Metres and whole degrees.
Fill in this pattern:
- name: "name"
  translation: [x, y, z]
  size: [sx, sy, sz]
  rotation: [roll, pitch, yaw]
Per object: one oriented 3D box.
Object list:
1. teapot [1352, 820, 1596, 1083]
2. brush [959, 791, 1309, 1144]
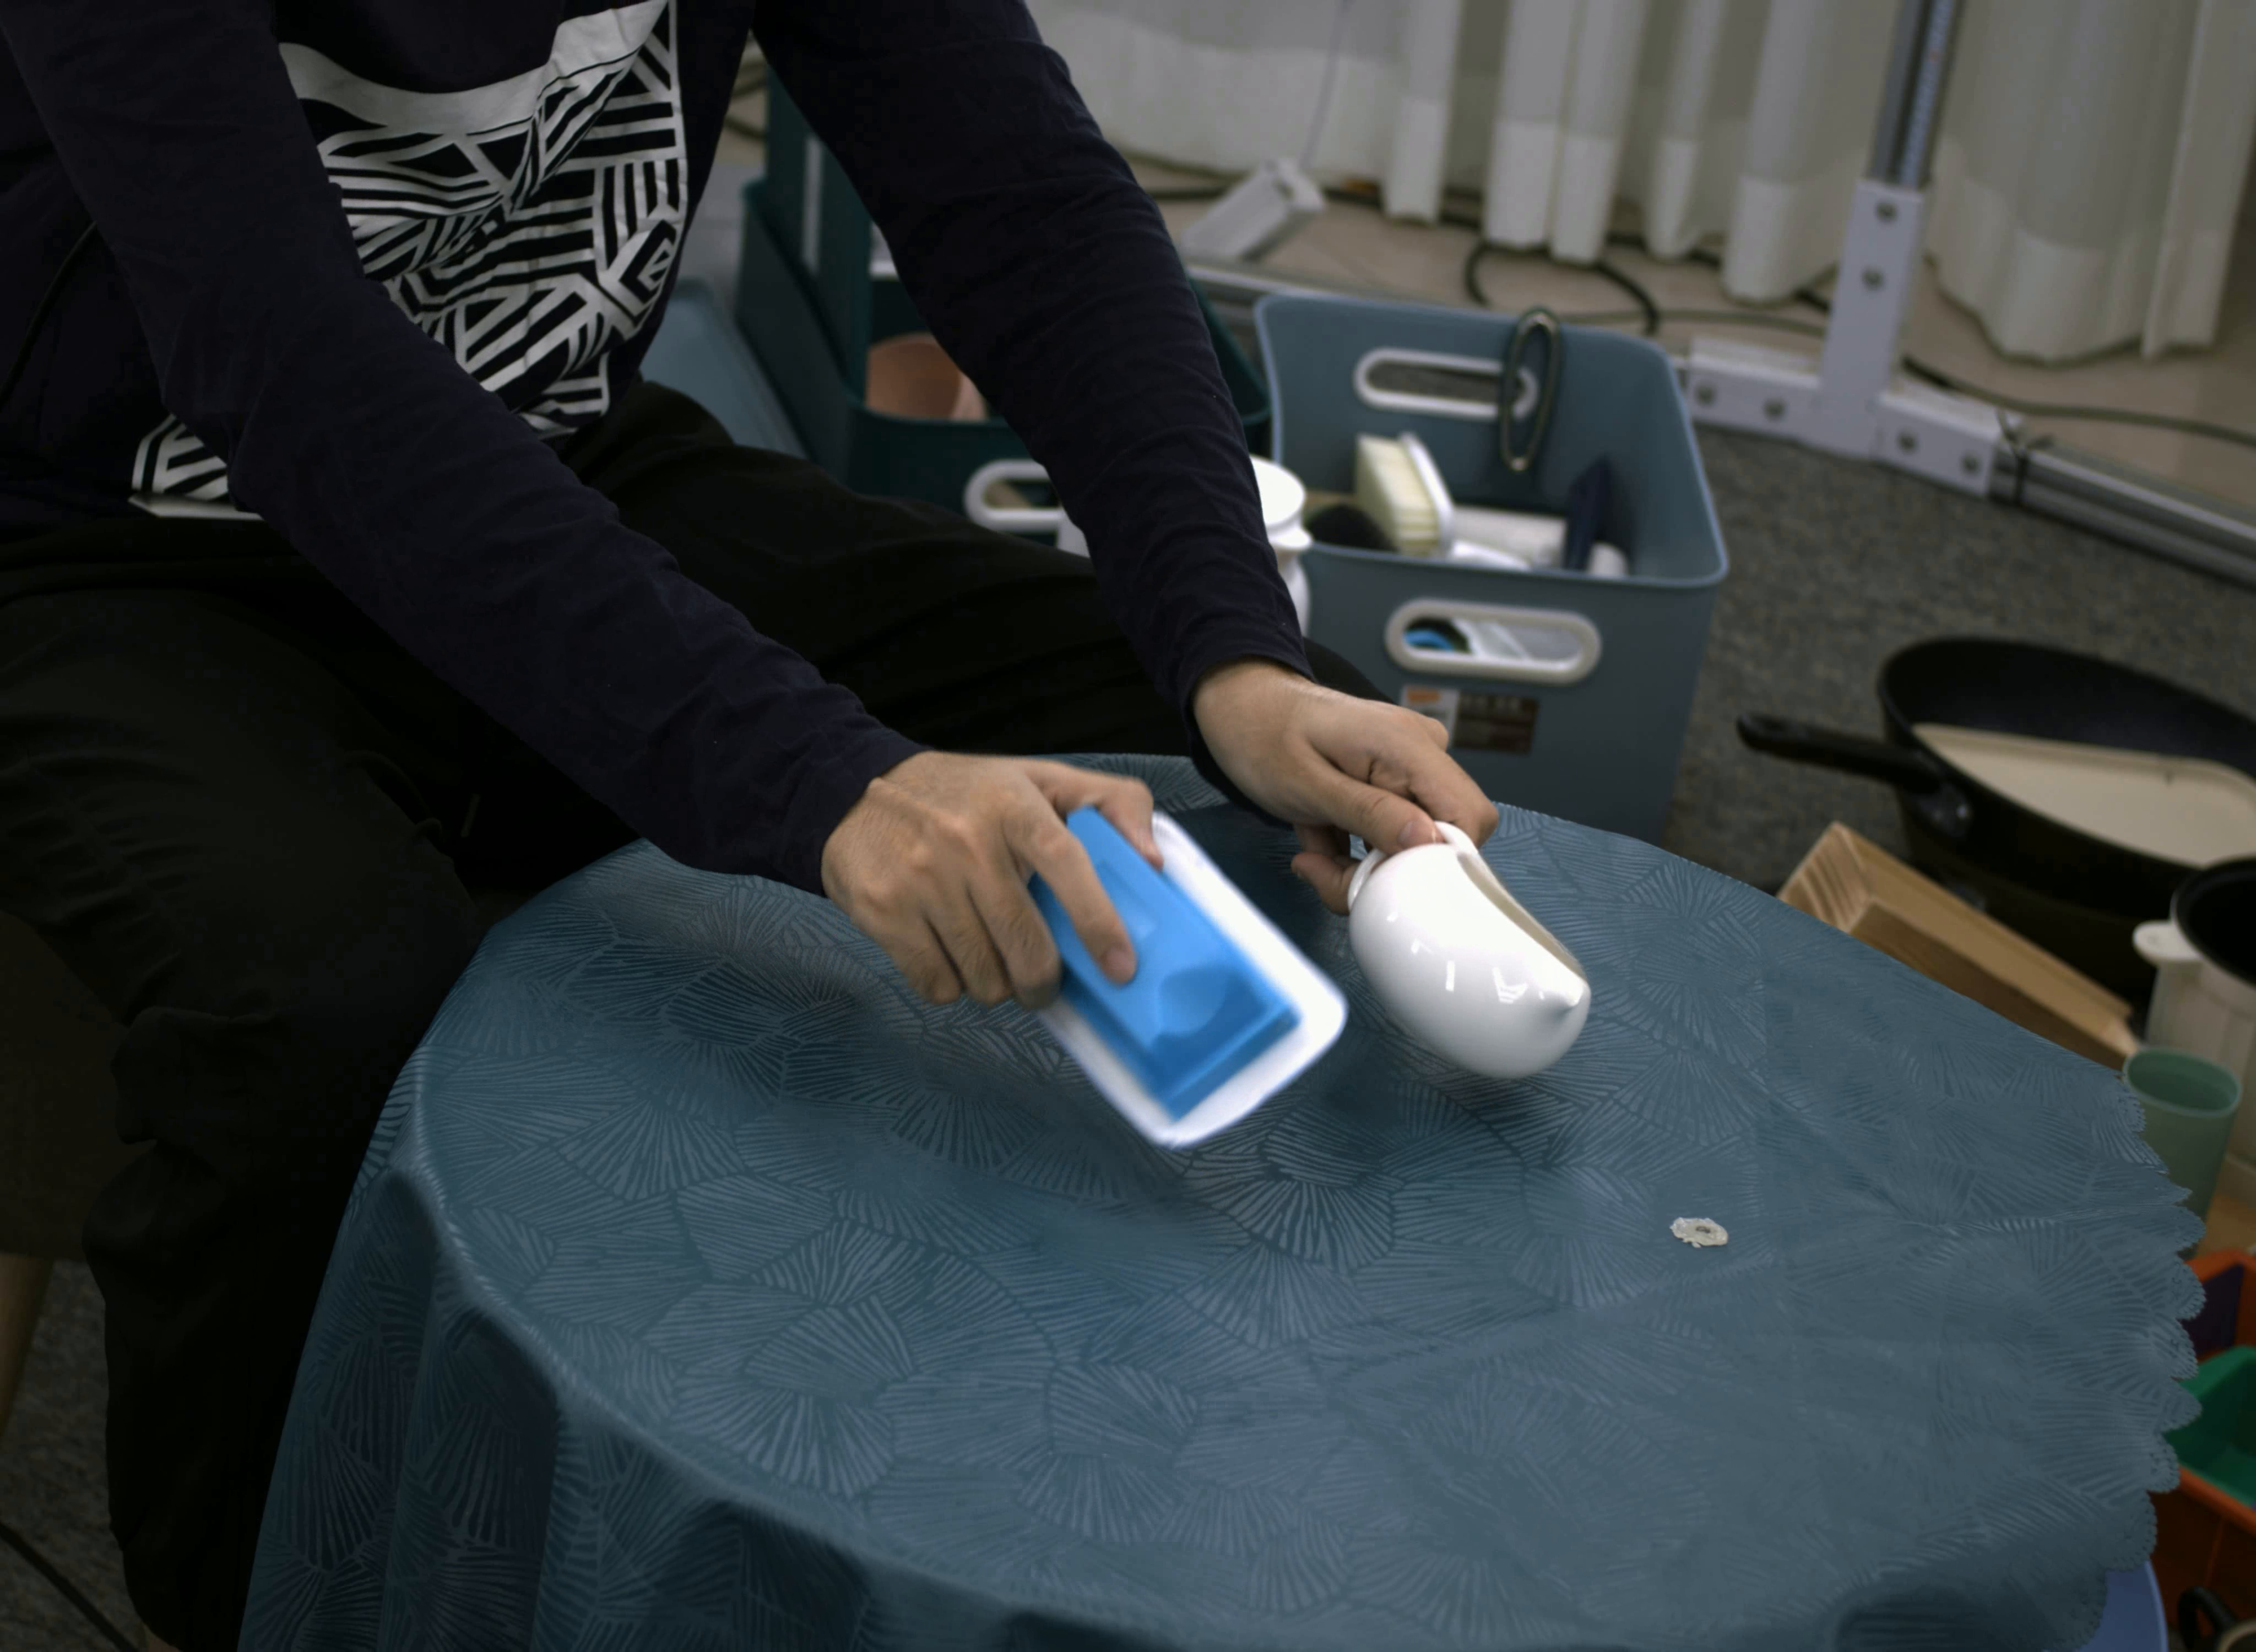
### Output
- name: "teapot"
  translation: [0.117, 0.043, 1.889]
  size: [0.092, 0.056, 0.128]
  rotation: [23, 22, -42]
- name: "brush"
  translation: [-0.002, 0.041, 1.812]
  size: [0.084, 0.055, 0.145]
  rotation: [-32, 46, -6]
